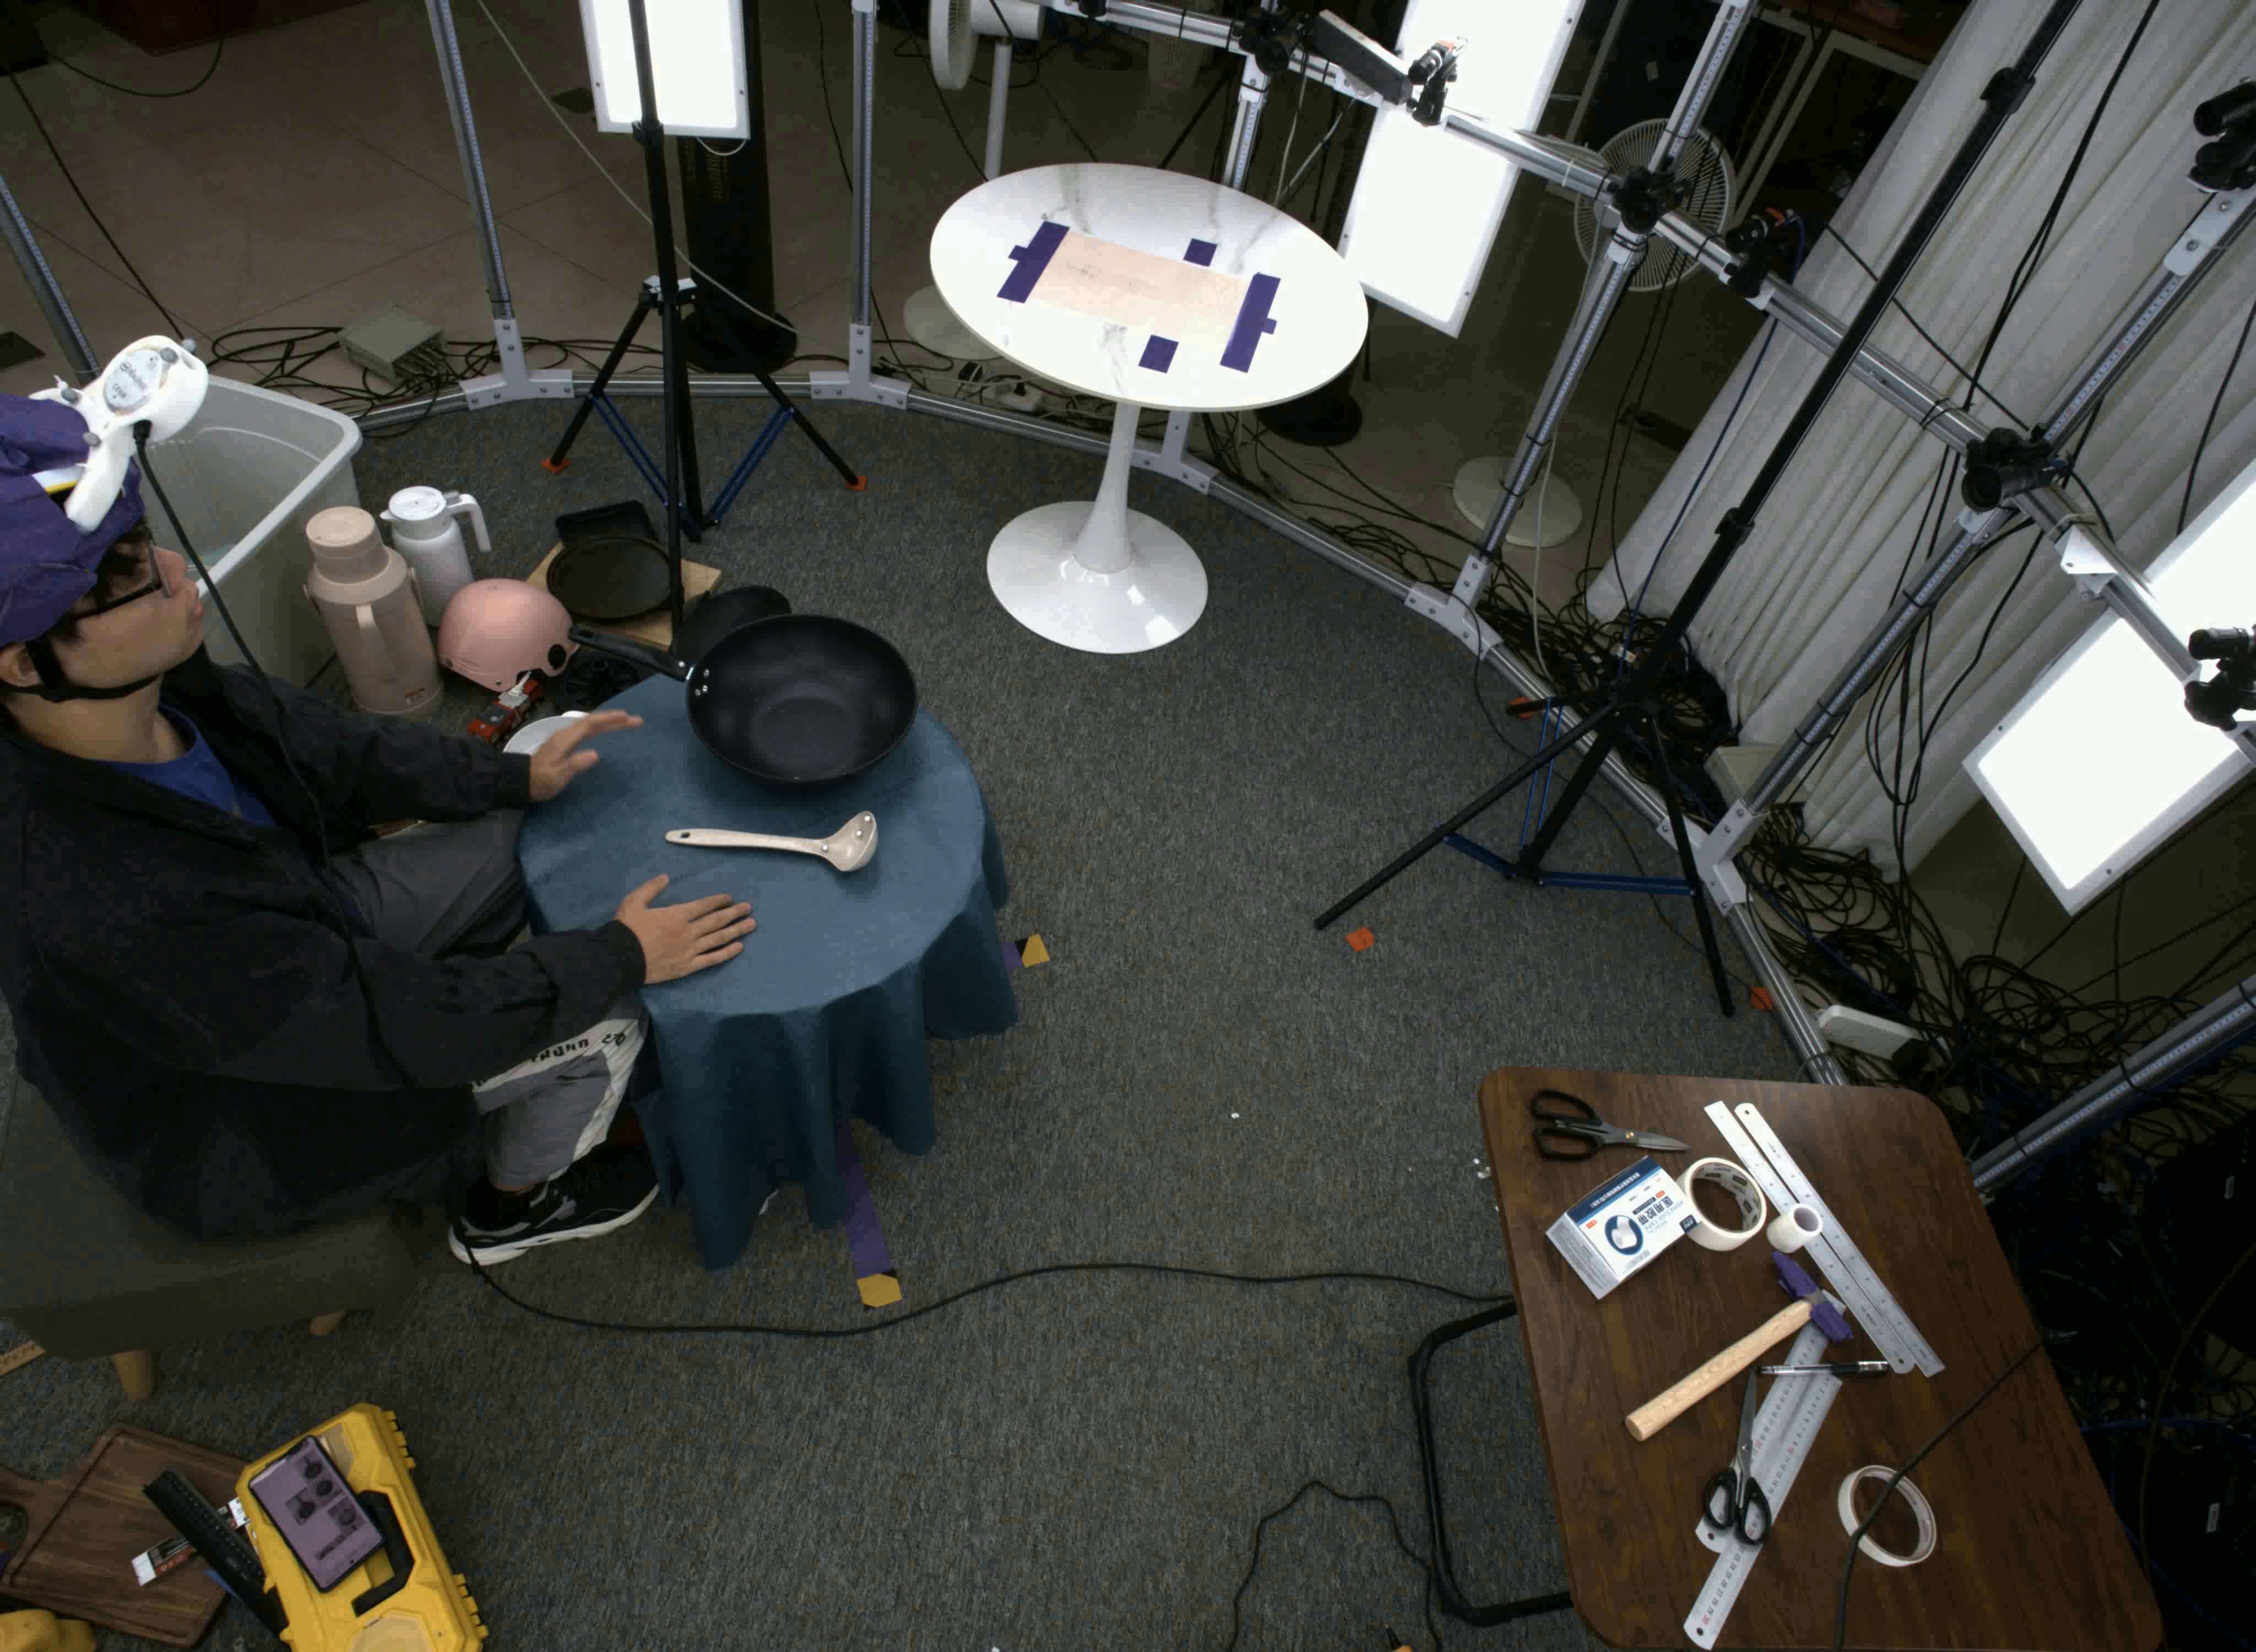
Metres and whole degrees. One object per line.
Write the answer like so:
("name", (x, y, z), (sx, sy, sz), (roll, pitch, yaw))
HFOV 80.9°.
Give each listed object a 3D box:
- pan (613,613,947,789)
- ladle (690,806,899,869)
("pan", (-0.488, -0.185, 1.787), (0.474, 0.114, 0.305), (13, 51, -4))
("ladle", (-0.435, 0.006, 1.683), (0.274, 0.070, 0.088), (5, 60, -9))
